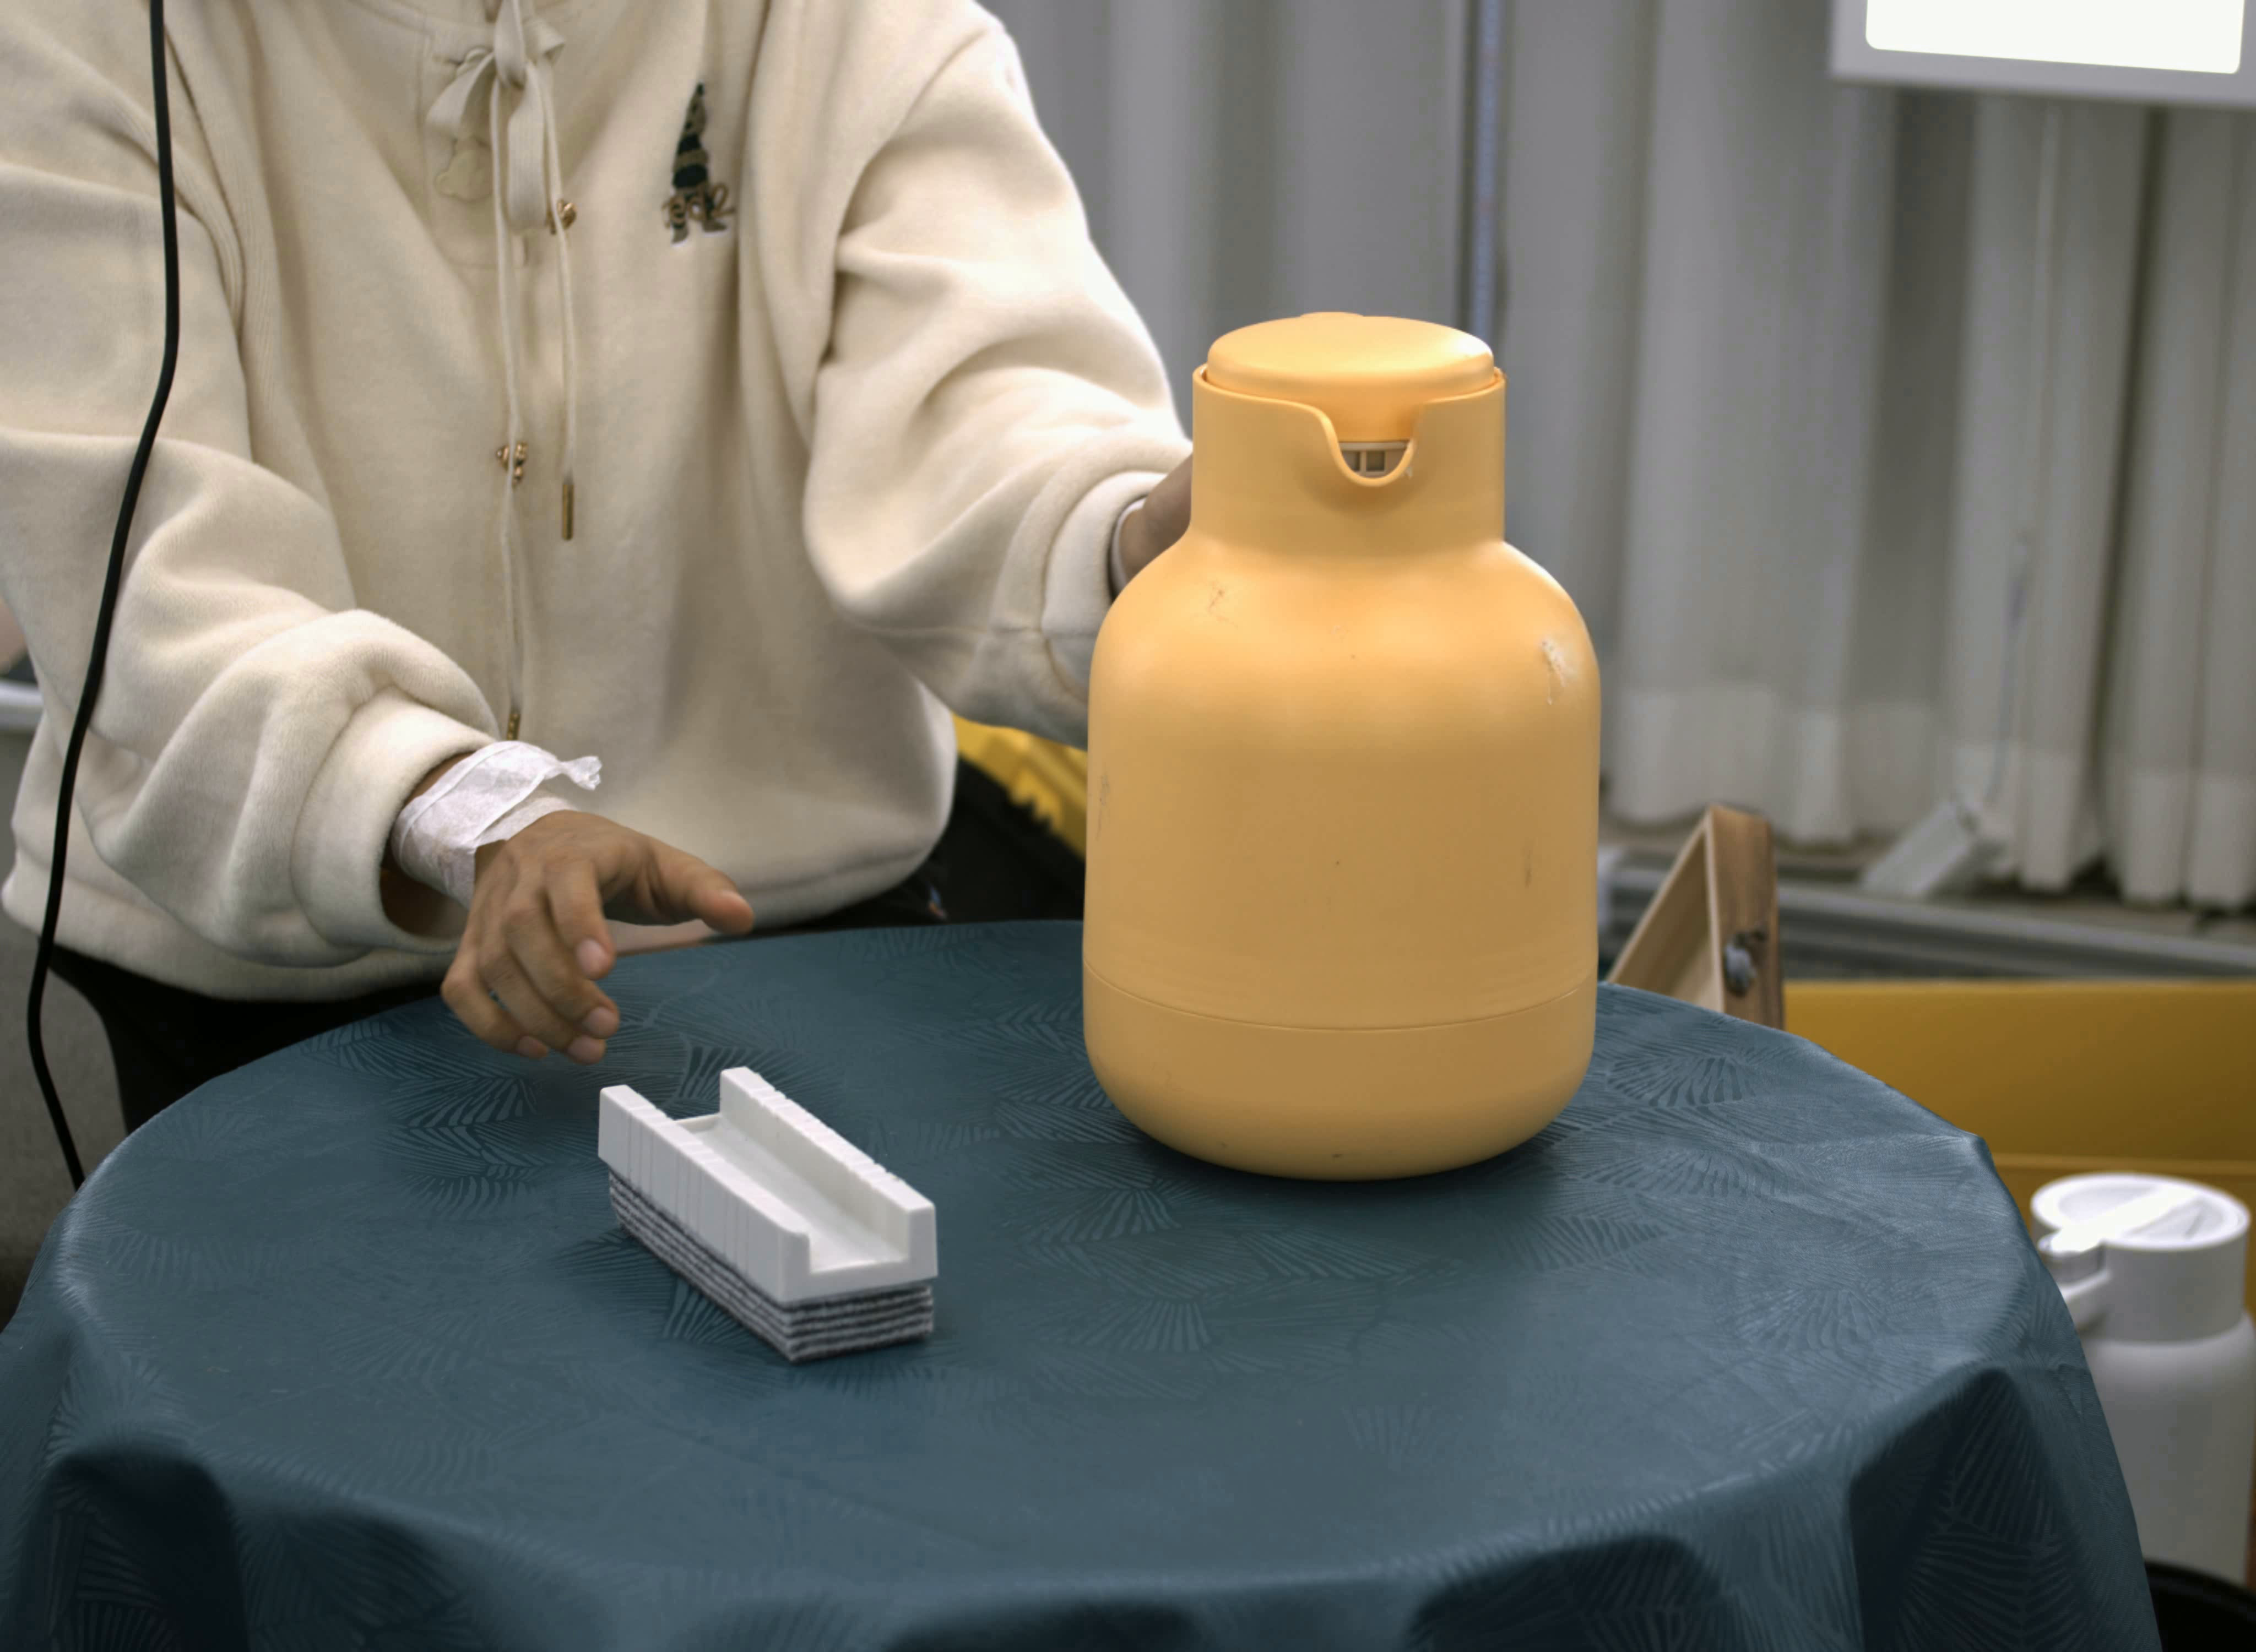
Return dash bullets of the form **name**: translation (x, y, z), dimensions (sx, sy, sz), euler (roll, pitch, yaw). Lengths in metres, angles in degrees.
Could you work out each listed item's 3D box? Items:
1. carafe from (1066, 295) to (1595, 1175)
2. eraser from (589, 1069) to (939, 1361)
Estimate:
- **carafe**: translation (0.066, -0.037, 1.662), dimensions (0.163, 0.262, 0.201), euler (3, 17, -3)
- **eraser**: translation (-0.107, 0.112, 1.532), dimensions (0.050, 0.047, 0.132), euler (-12, 21, -28)
